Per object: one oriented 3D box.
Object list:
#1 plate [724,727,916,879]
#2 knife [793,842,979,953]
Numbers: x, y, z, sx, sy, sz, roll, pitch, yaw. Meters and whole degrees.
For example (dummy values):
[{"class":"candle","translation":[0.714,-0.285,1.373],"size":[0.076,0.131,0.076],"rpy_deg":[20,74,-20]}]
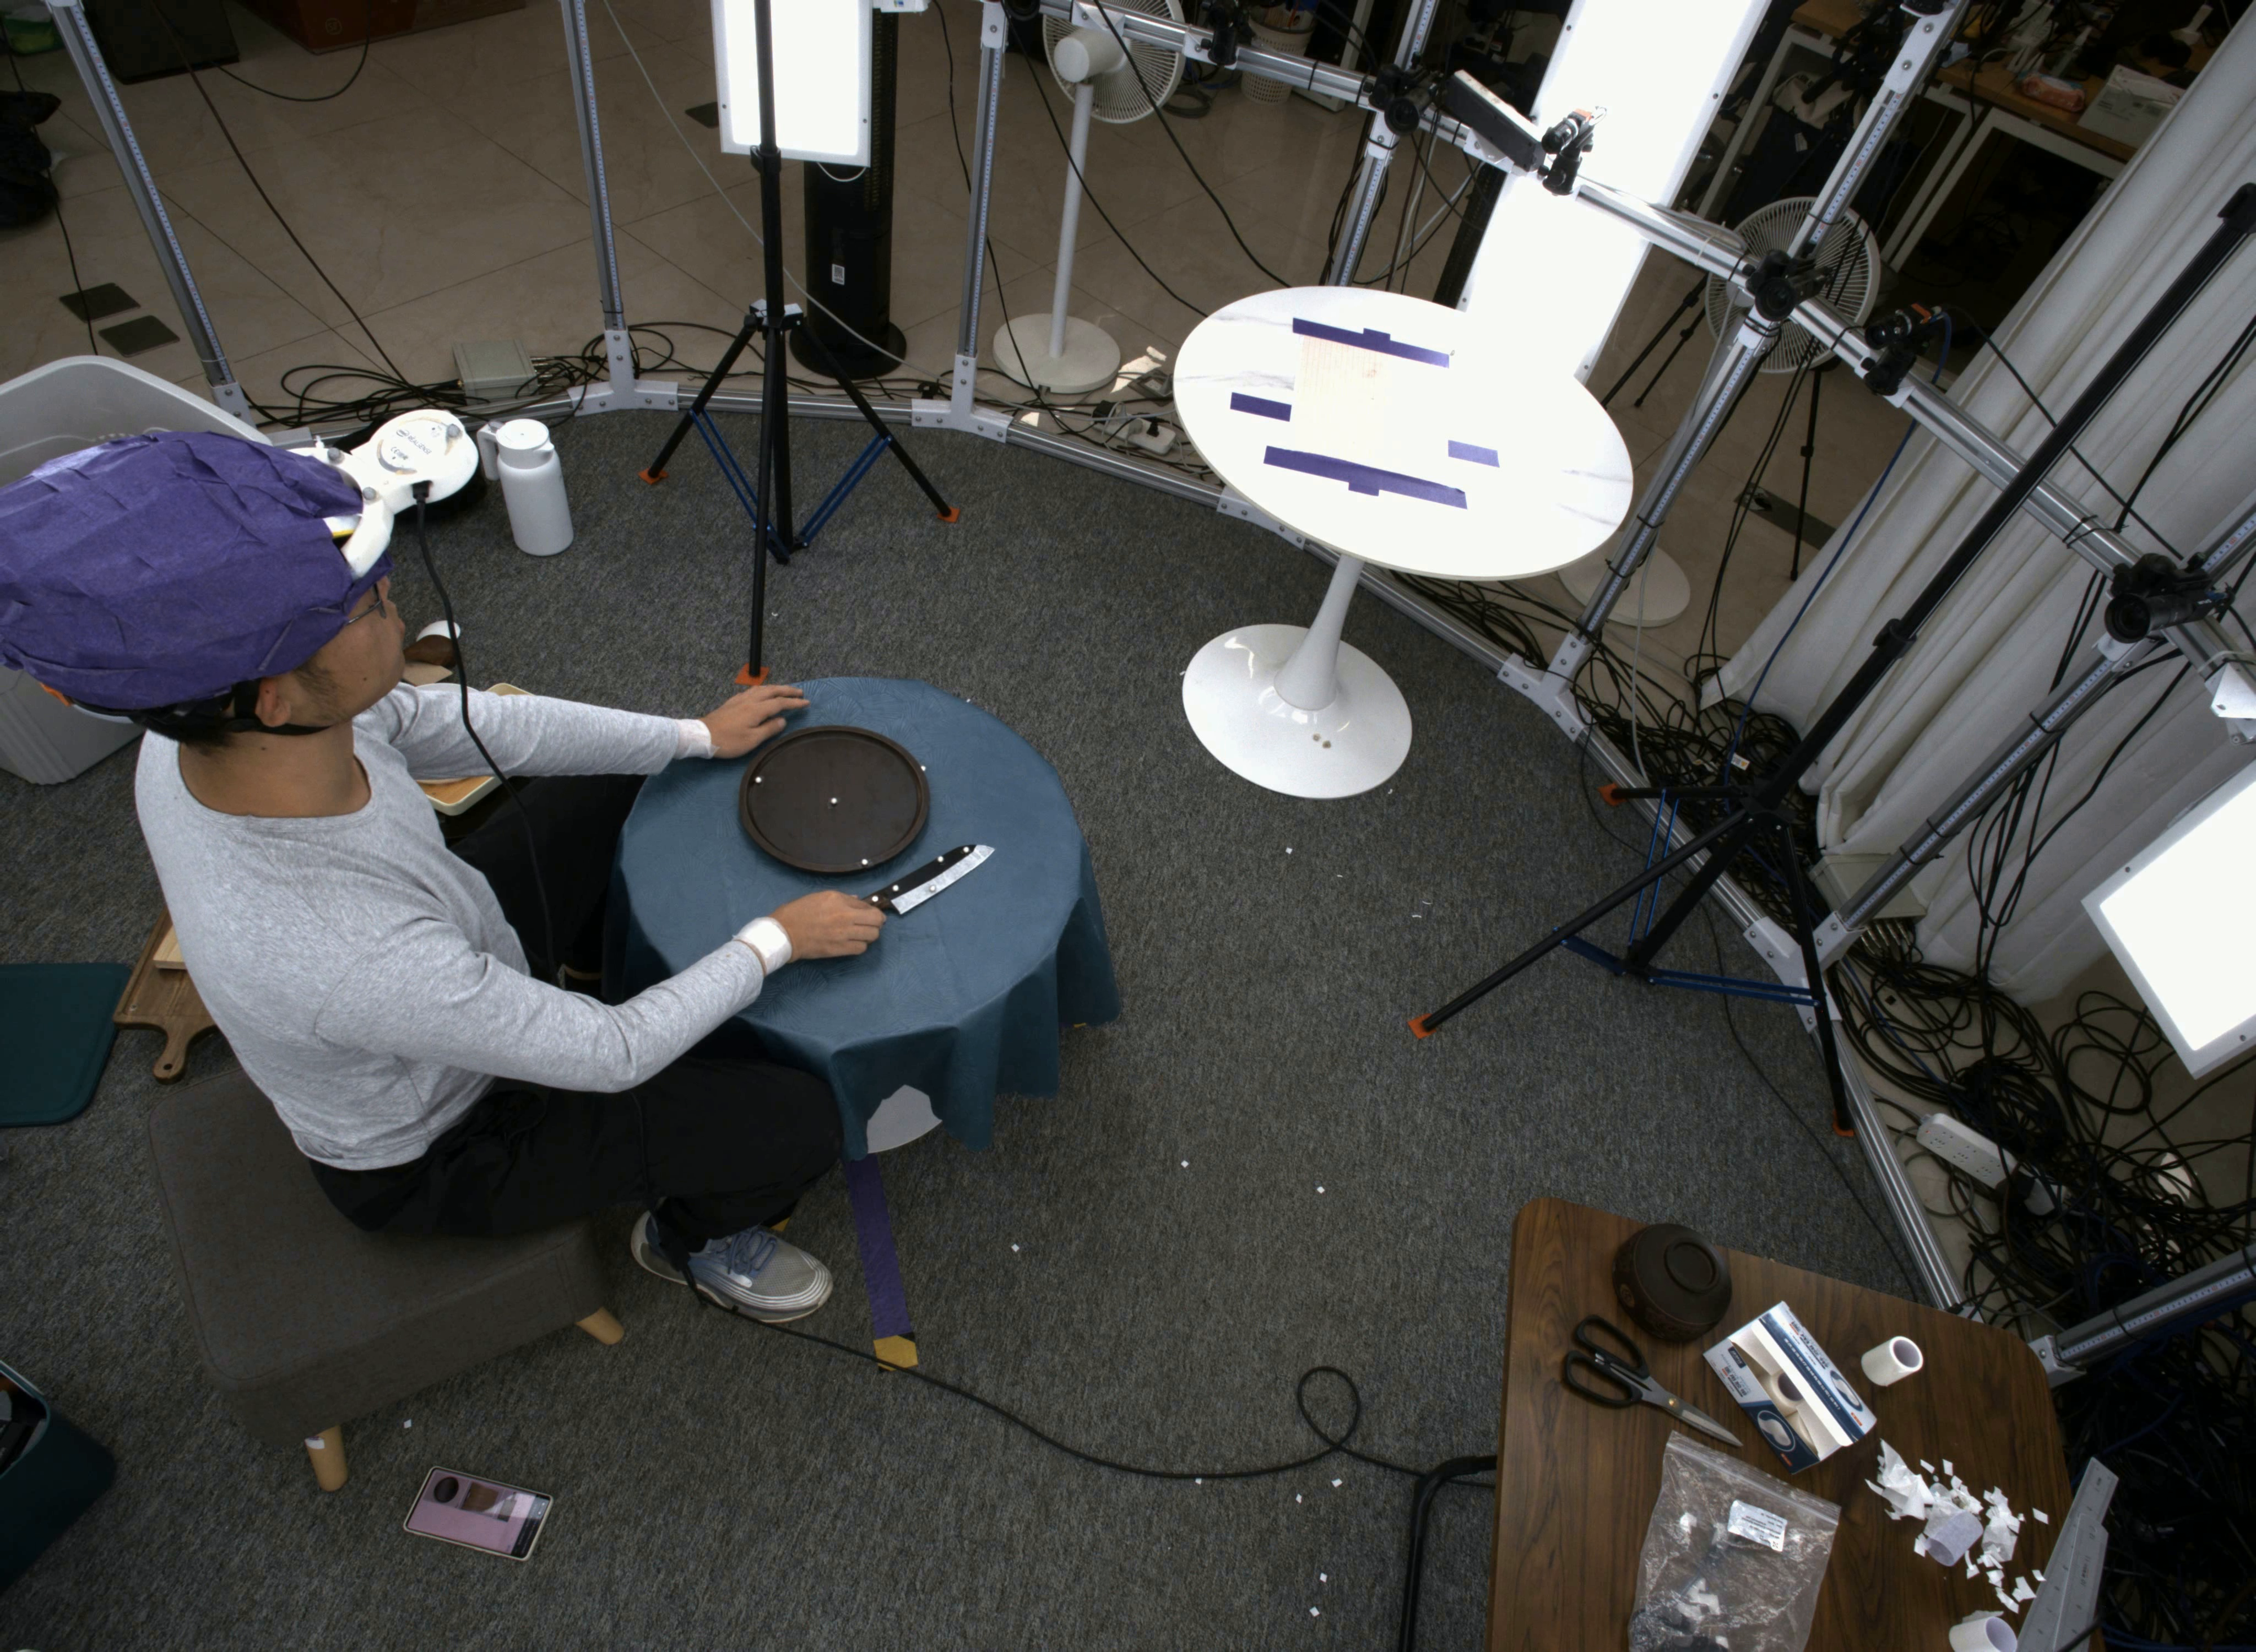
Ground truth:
[{"class":"plate","translation":[-0.413,-0.033,1.747],"size":[0.254,0.029,0.250],"rpy_deg":[8,55,-9]},{"class":"knife","translation":[-0.308,0.087,1.691],"size":[0.290,0.020,0.049],"rpy_deg":[-31,72,-34]}]
